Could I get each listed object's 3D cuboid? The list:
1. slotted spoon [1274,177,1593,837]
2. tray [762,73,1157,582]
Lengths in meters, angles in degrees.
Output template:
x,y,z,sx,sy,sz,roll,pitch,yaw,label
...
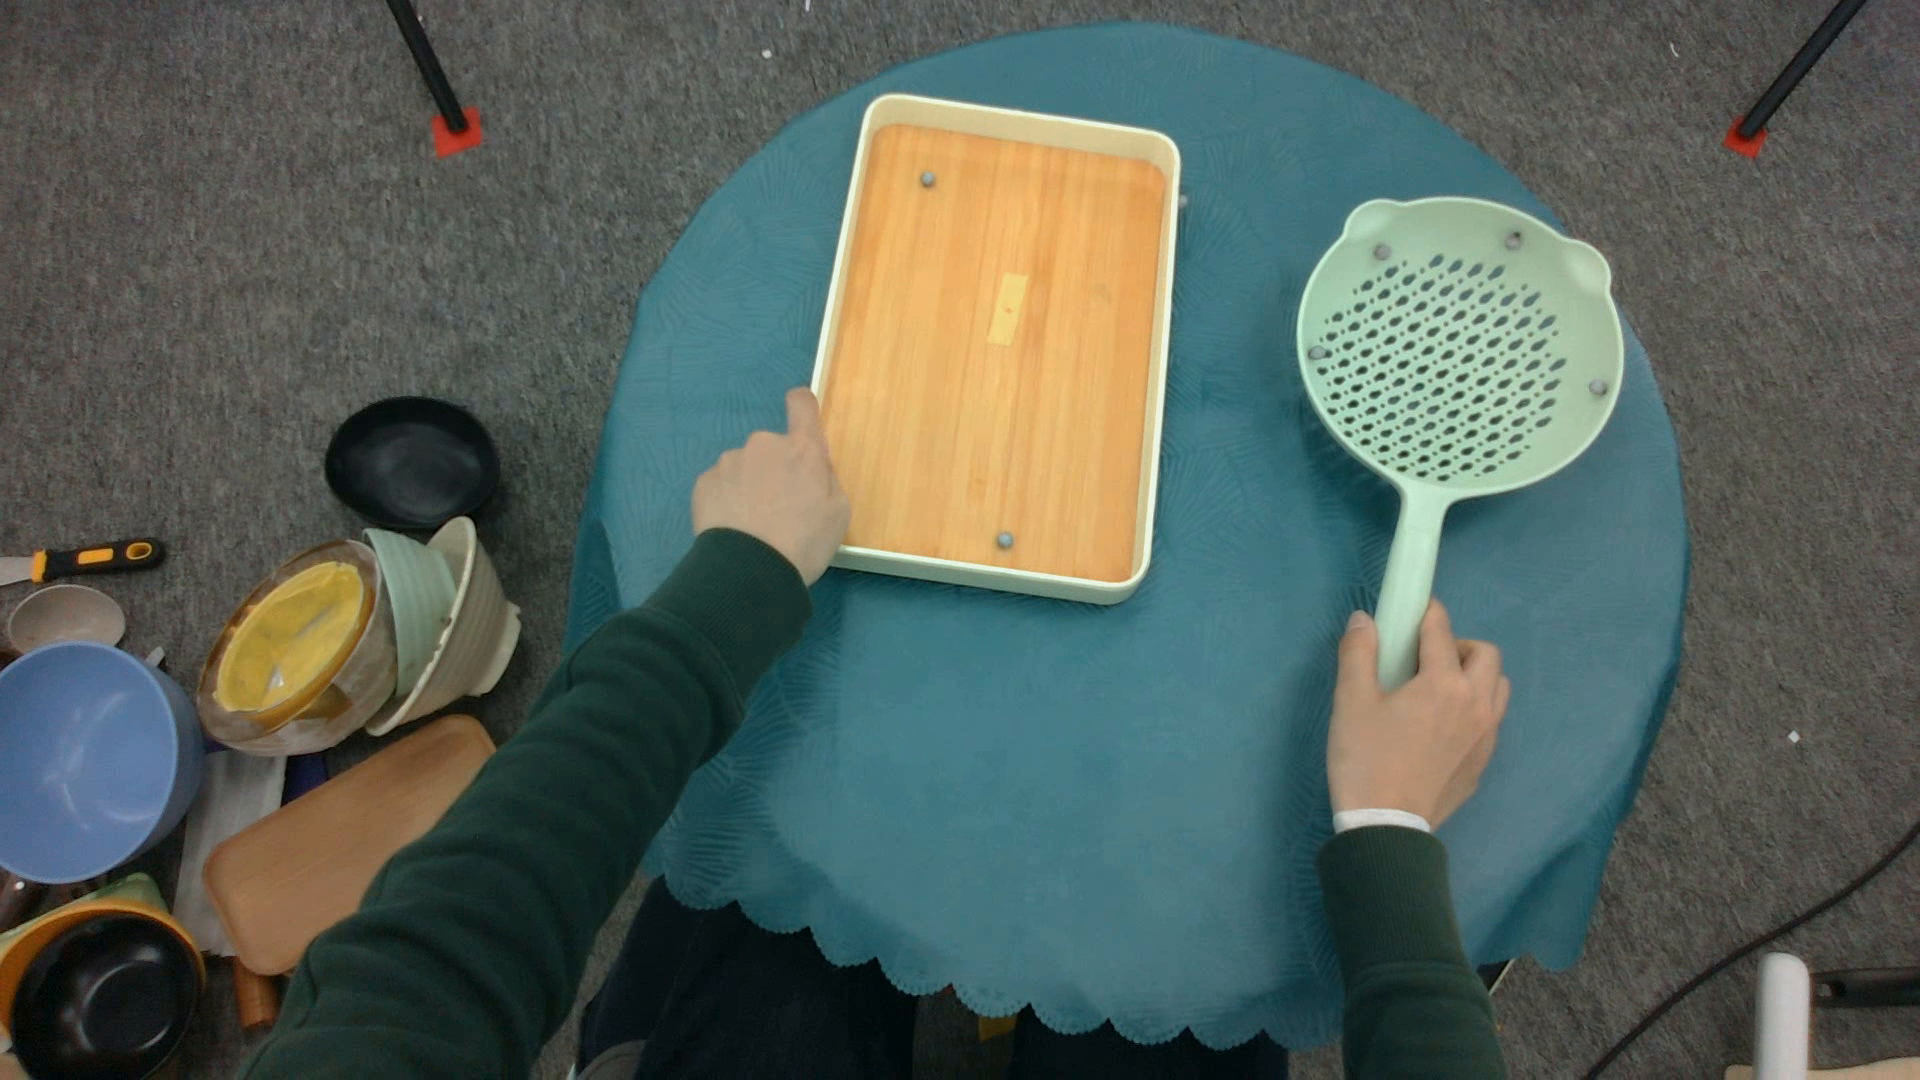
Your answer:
x,y,z,sx,sy,sz,roll,pitch,yaw,label
0.228,-0.025,0.722,0.169,0.075,0.360,14,67,6,slotted spoon
0.007,-0.128,0.772,0.191,0.027,0.301,8,66,-1,tray
